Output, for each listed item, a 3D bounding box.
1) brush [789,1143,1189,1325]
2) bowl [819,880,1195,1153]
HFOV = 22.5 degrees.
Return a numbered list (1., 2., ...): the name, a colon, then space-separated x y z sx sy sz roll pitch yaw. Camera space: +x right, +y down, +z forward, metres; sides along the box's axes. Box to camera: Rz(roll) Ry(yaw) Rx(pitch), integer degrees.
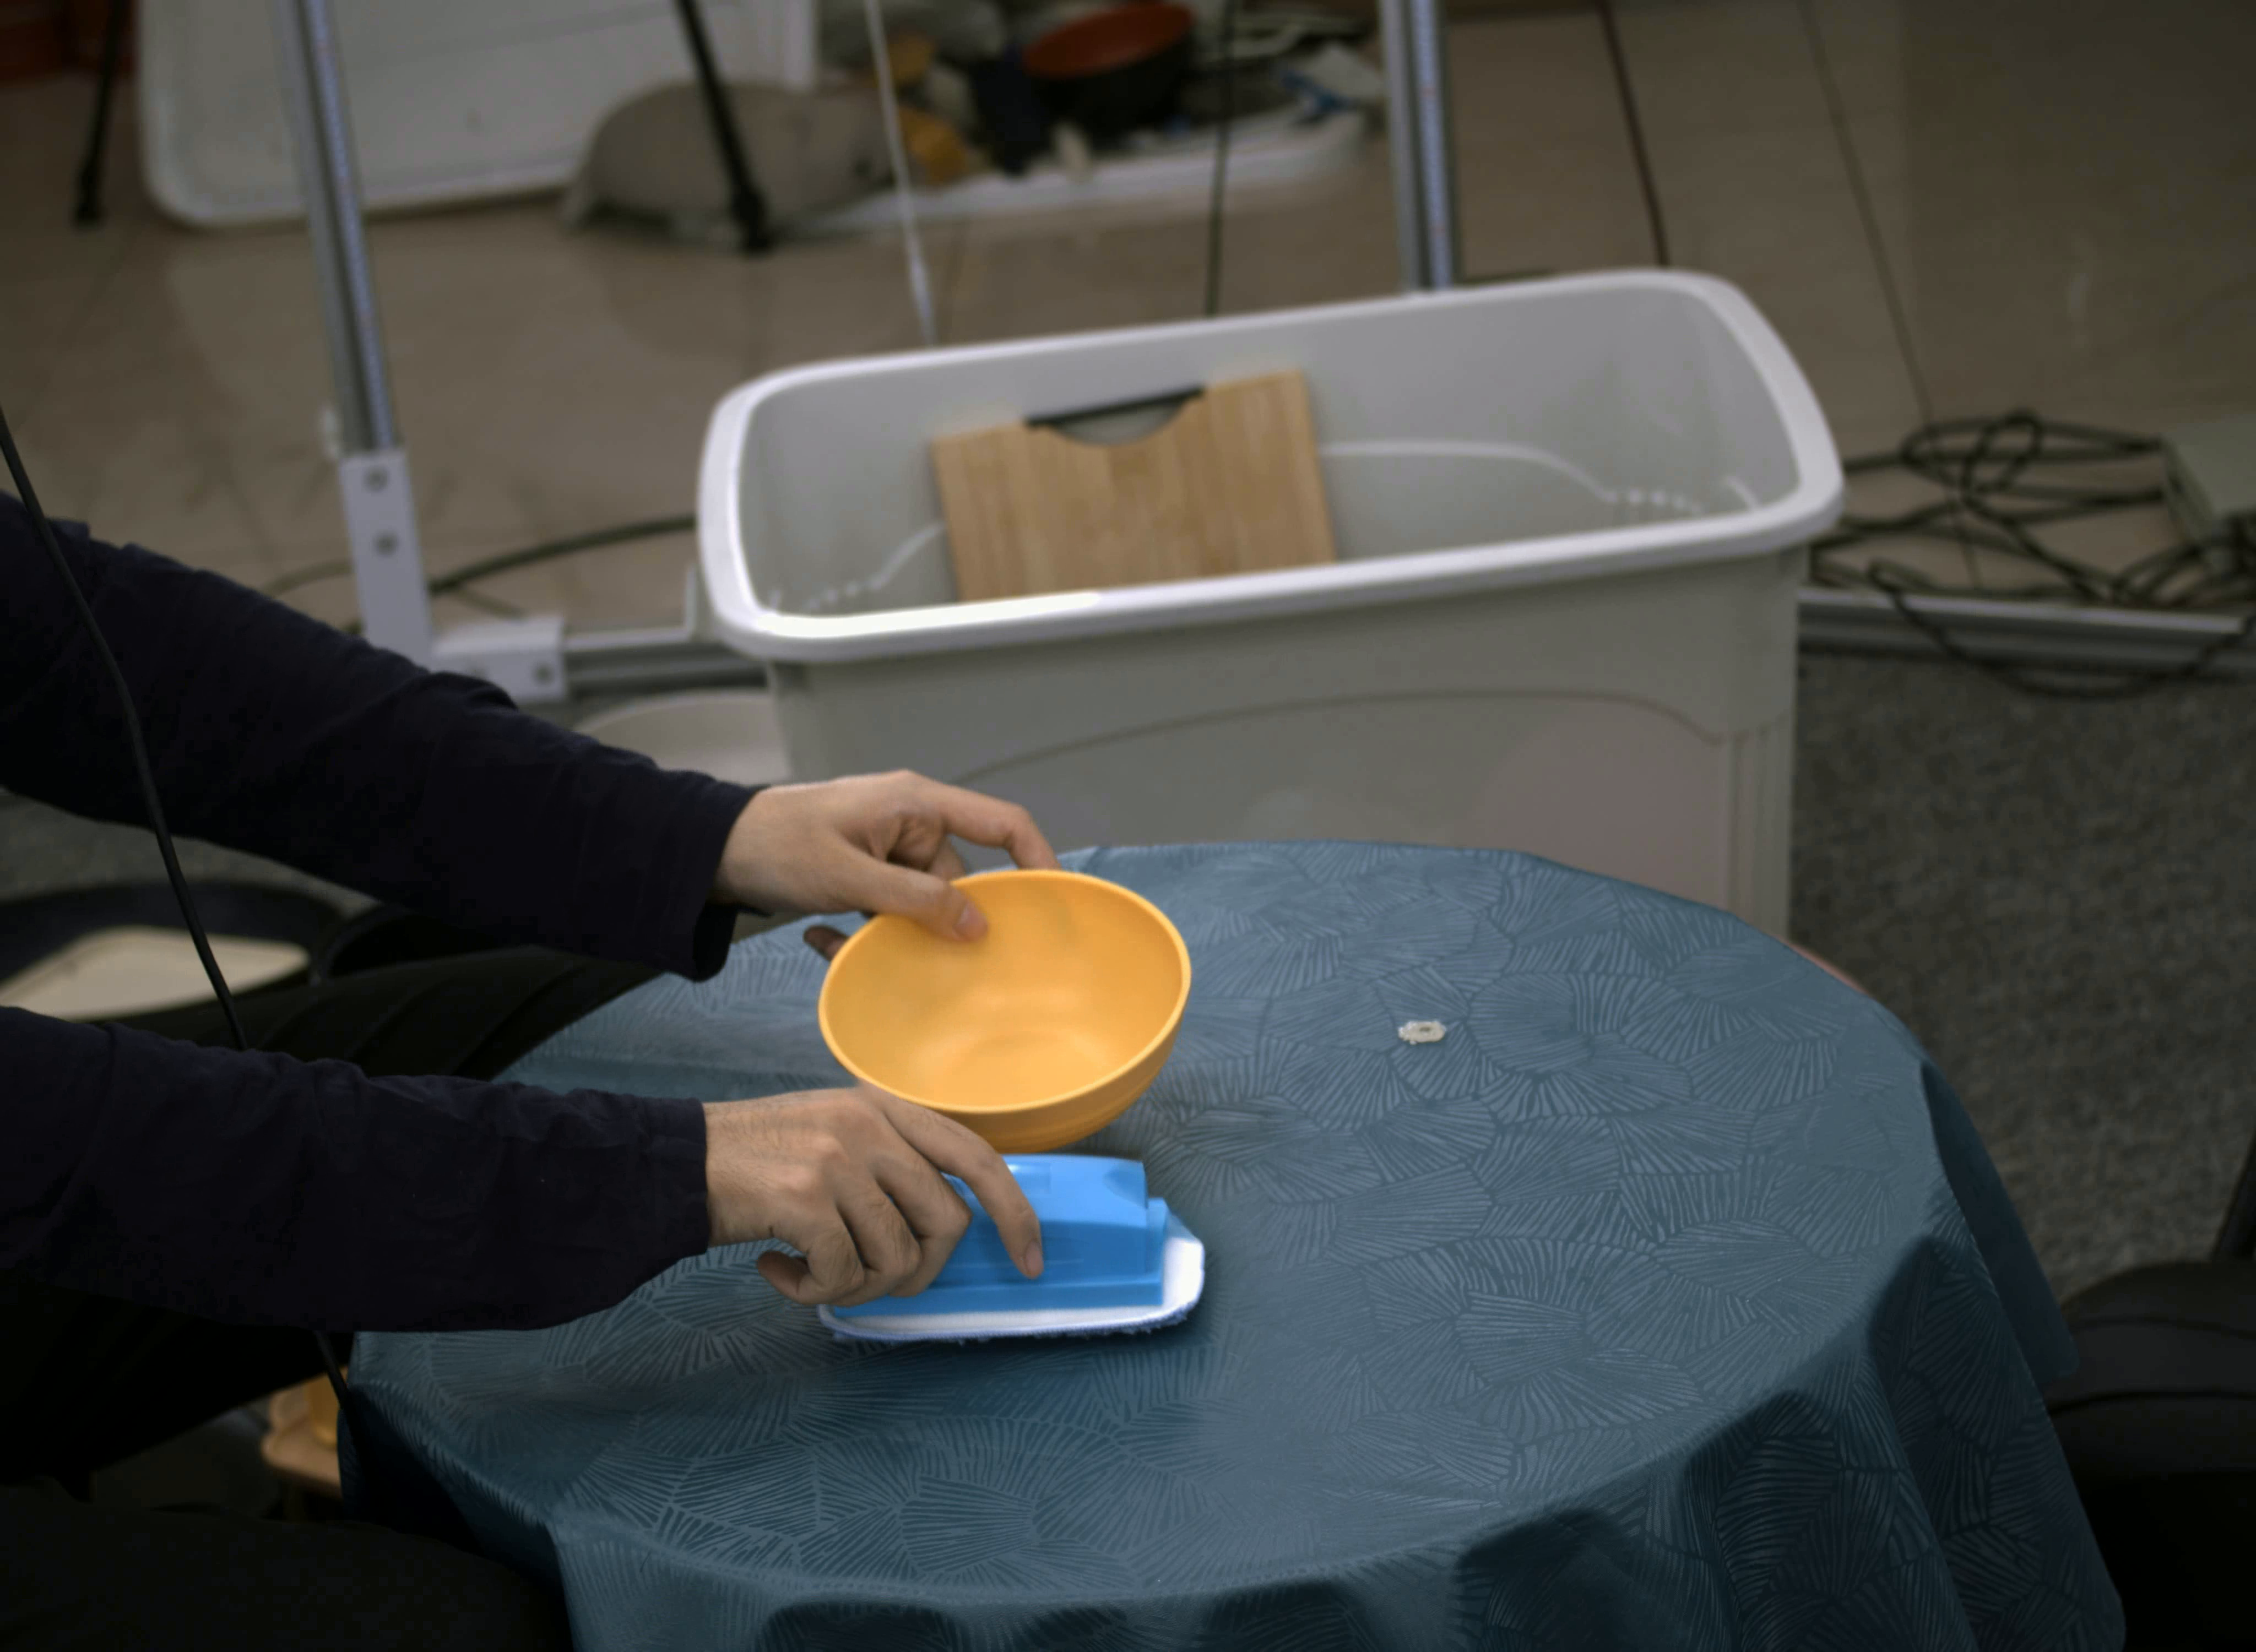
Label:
1. brush: -0.050 0.146 2.061 0.144 0.057 0.082 0 24 3
2. bowl: -0.044 0.087 2.189 0.145 0.061 0.143 -4 36 3
